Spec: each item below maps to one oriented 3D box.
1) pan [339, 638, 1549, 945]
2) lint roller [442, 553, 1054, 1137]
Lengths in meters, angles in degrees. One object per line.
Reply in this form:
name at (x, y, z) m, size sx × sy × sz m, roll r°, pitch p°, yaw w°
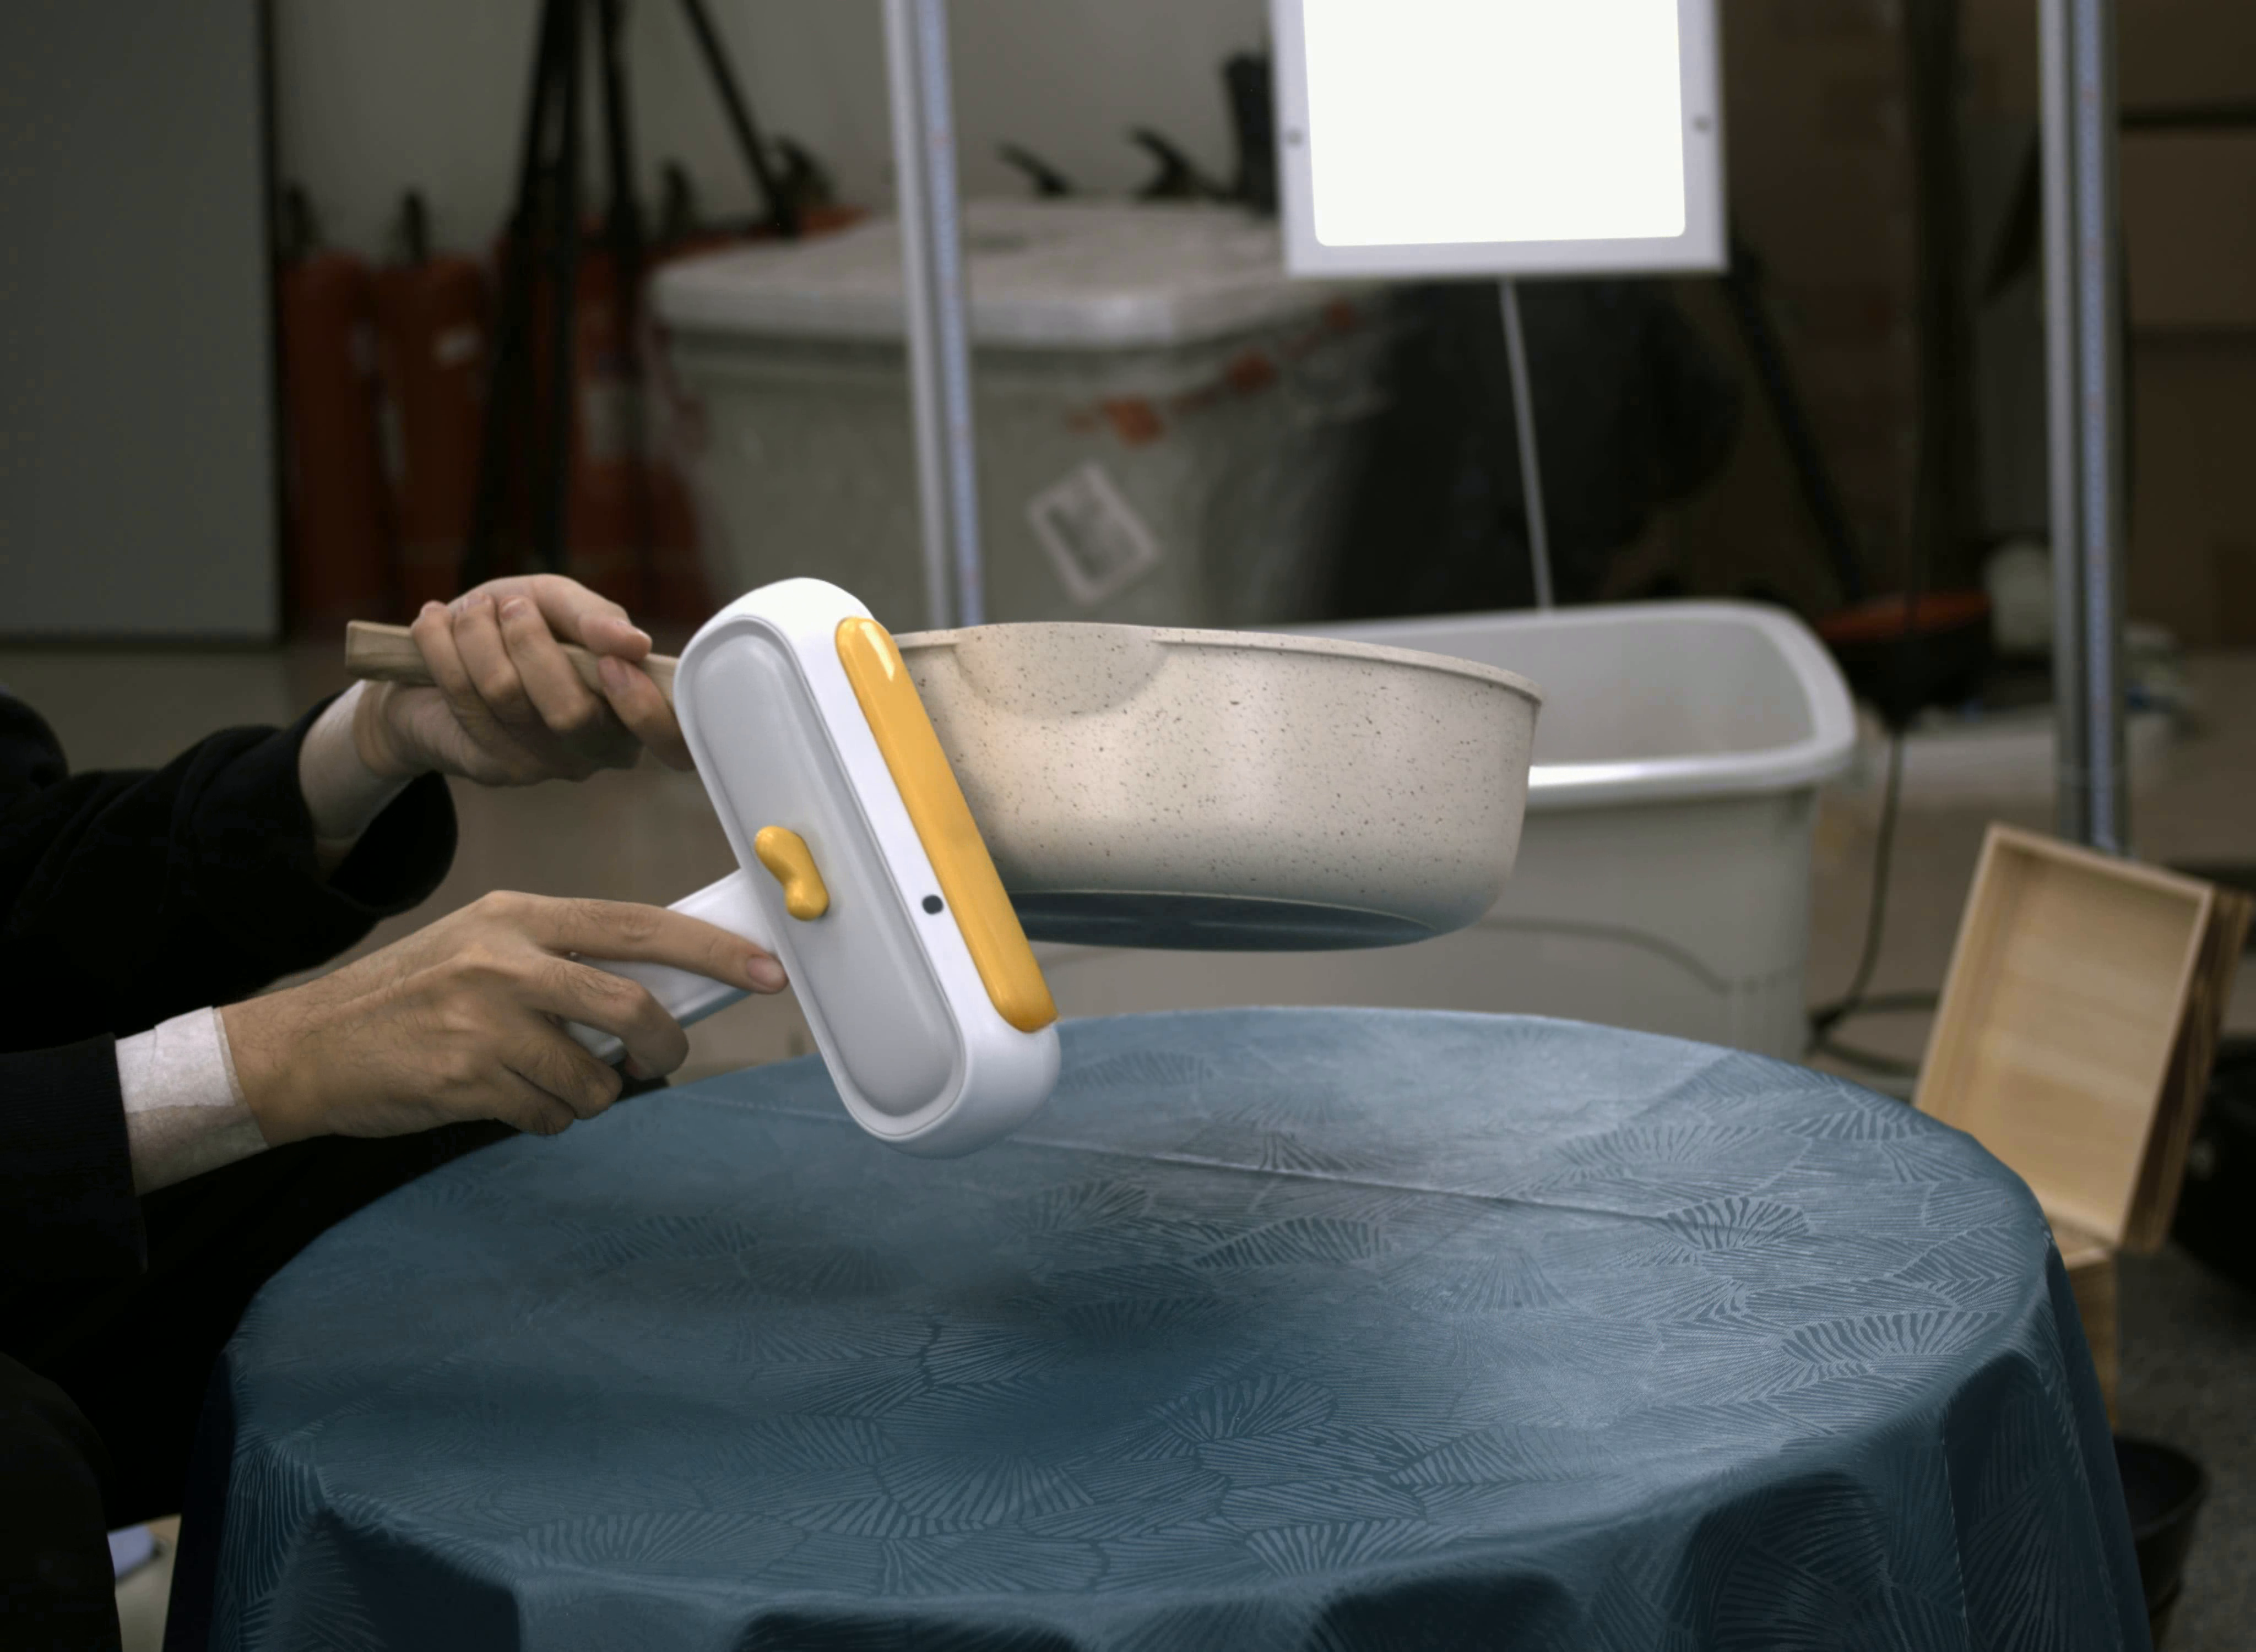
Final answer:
pan at (-0.071, -0.015, 1.879) m, size 0.440 × 0.102 × 0.259 m, roll 0°, pitch -5°, yaw 20°
lint roller at (-0.135, 0.036, 1.759) m, size 0.196 × 0.193 × 0.072 m, roll -35°, pitch -11°, yaw 27°
